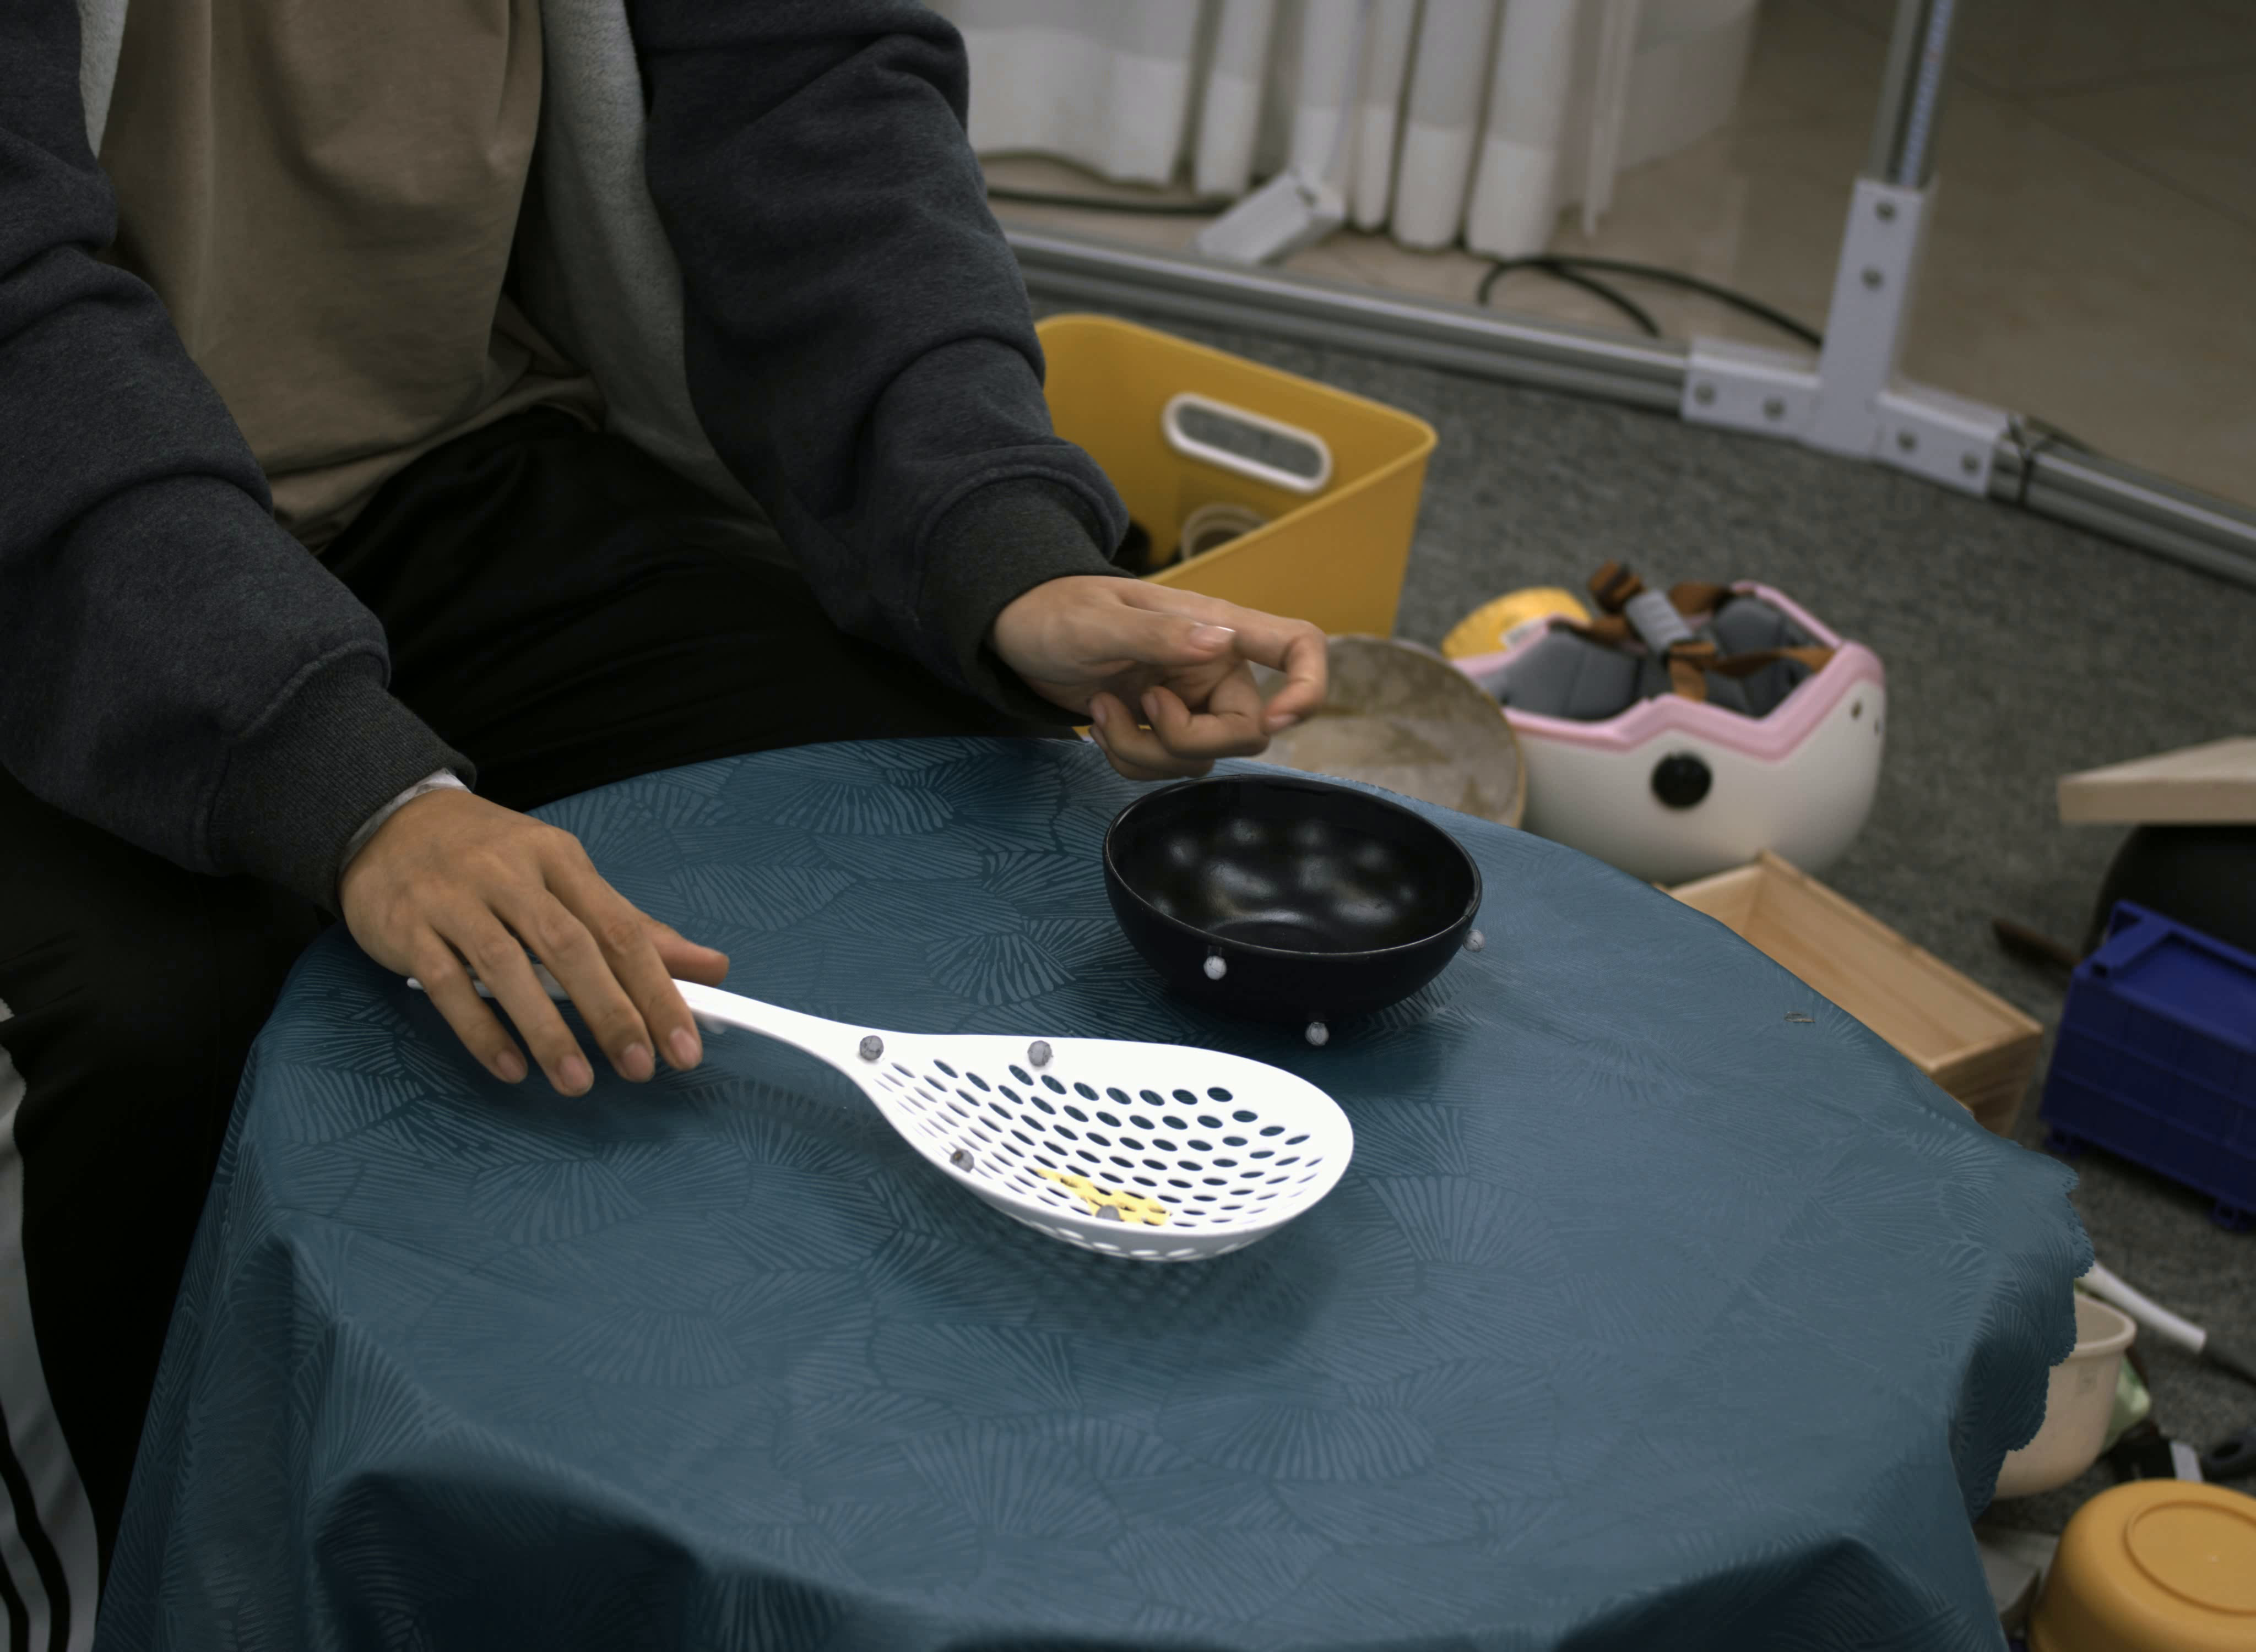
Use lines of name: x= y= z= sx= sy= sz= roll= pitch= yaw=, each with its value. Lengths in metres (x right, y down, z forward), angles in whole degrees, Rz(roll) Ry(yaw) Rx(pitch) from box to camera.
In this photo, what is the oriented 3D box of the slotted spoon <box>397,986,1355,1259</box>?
slotted spoon: x=-0.092 y=0.087 z=1.809 sx=0.349 sy=0.050 sz=0.137 roll=16 pitch=30 yaw=20
